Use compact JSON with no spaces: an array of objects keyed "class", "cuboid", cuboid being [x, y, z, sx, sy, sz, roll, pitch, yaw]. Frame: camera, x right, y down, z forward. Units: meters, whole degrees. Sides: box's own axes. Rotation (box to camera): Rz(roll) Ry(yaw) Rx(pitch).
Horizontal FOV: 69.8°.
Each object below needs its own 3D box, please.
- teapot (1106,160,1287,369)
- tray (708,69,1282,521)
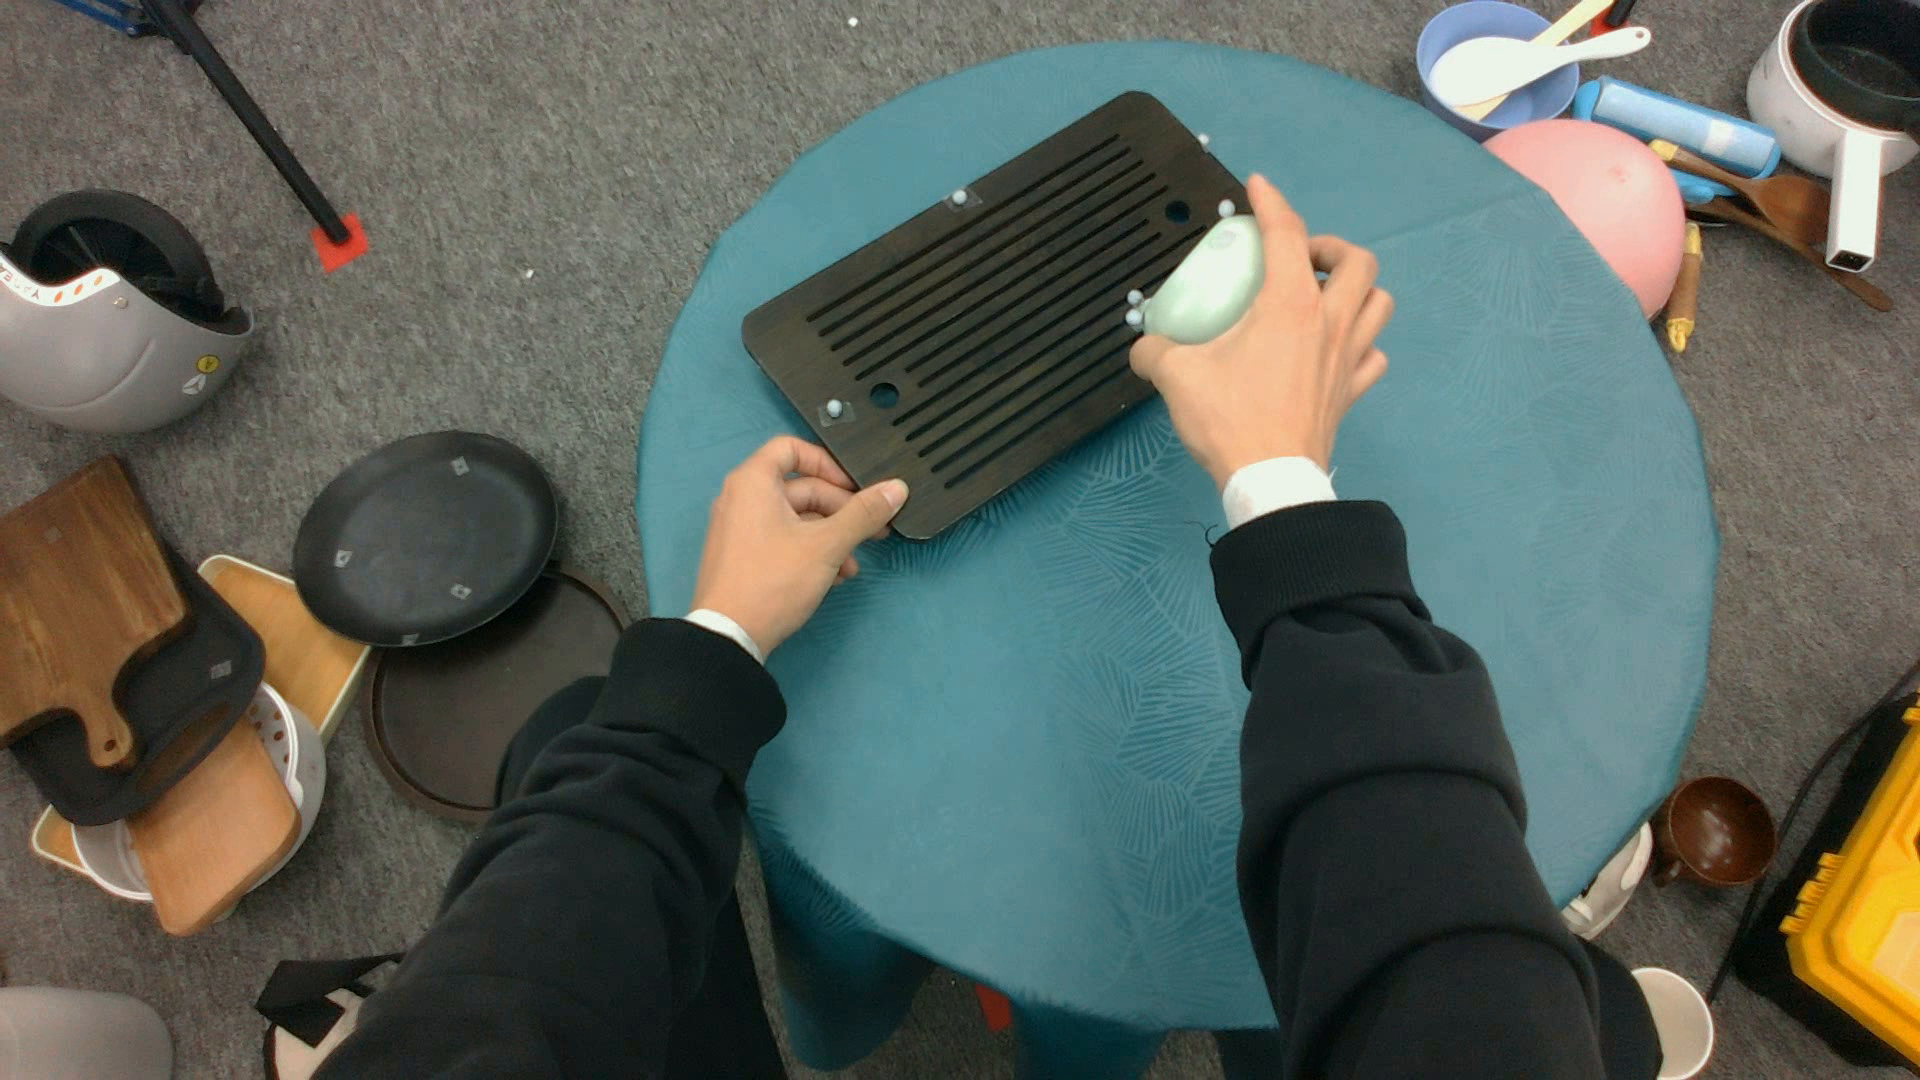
[{"class":"teapot","cuboid":[0.119,-0.129,0.686,0.075,0.143,0.088,39,72,4]},{"class":"tray","cuboid":[0.025,-0.149,0.789,0.307,0.018,0.170,-35,74,-18]}]
